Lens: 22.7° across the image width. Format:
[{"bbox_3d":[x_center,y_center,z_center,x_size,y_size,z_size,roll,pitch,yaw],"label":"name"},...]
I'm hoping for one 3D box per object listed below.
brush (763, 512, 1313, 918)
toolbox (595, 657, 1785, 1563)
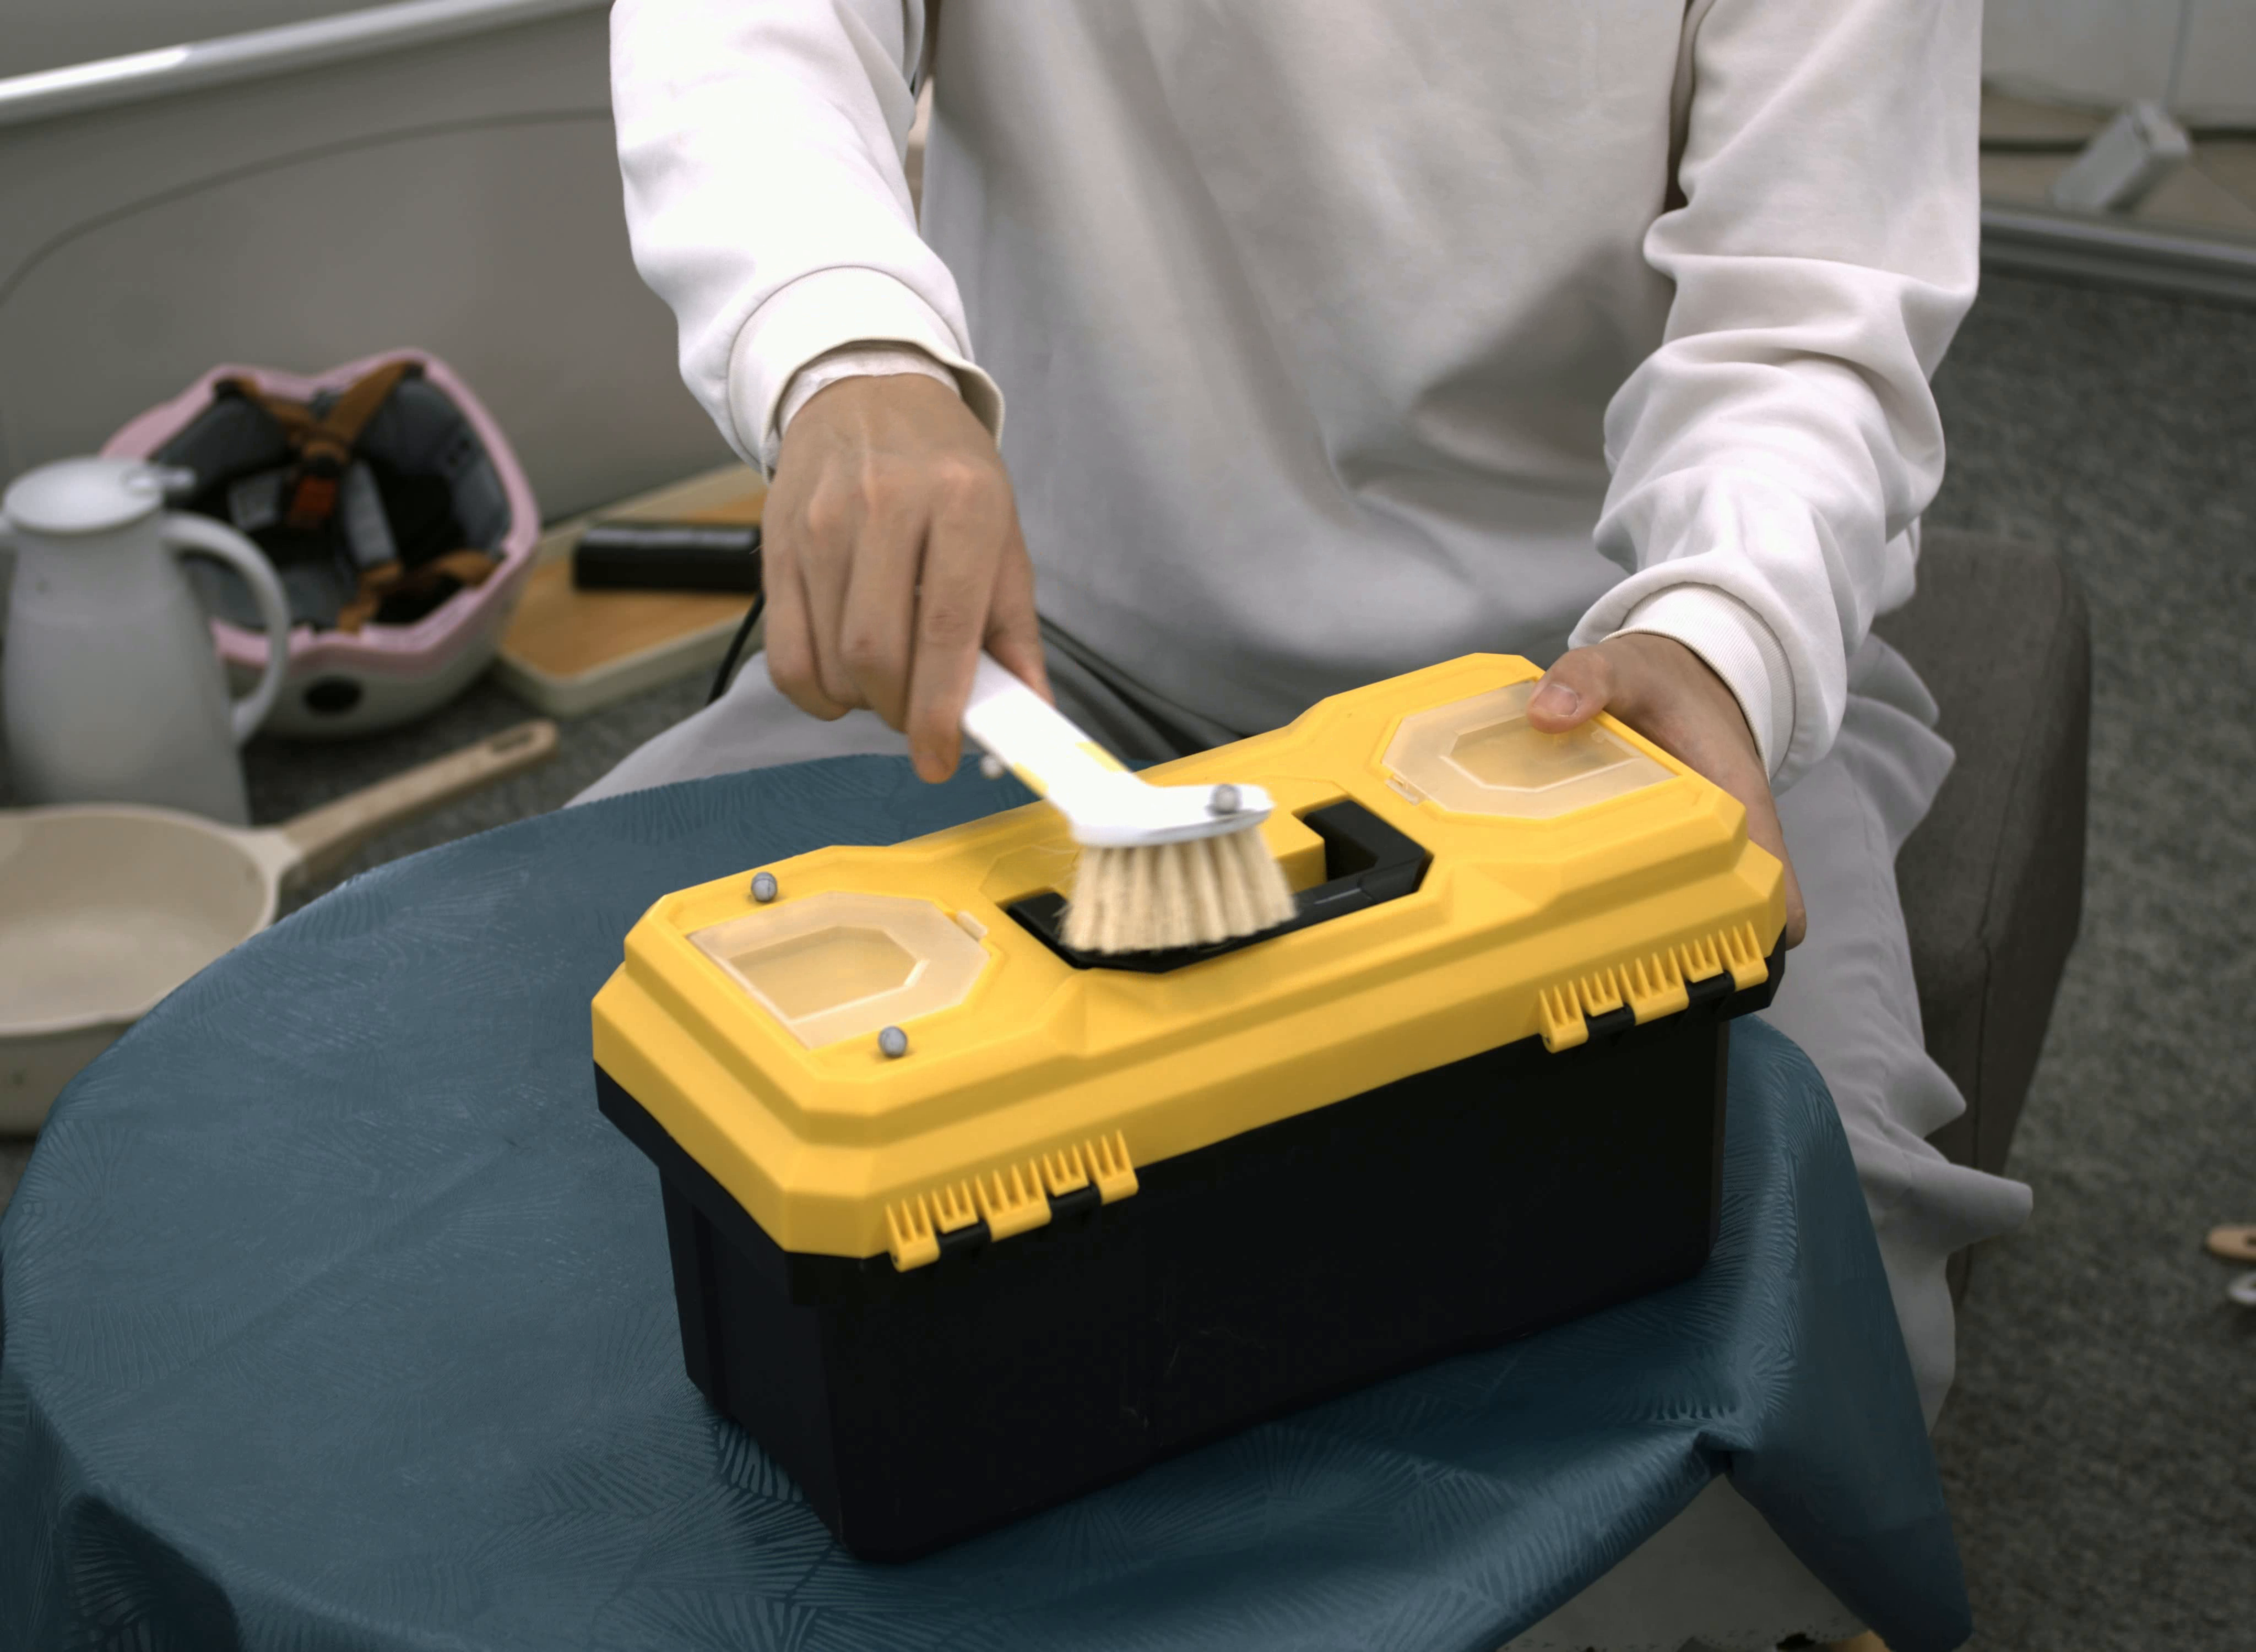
[{"bbox_3d":[-0.035,-0.031,1.738,0.069,0.056,0.267,-7,25,-37],"label":"brush"},{"bbox_3d":[0.021,0.084,1.752,0.353,0.171,0.182,-16,30,-26],"label":"toolbox"}]
